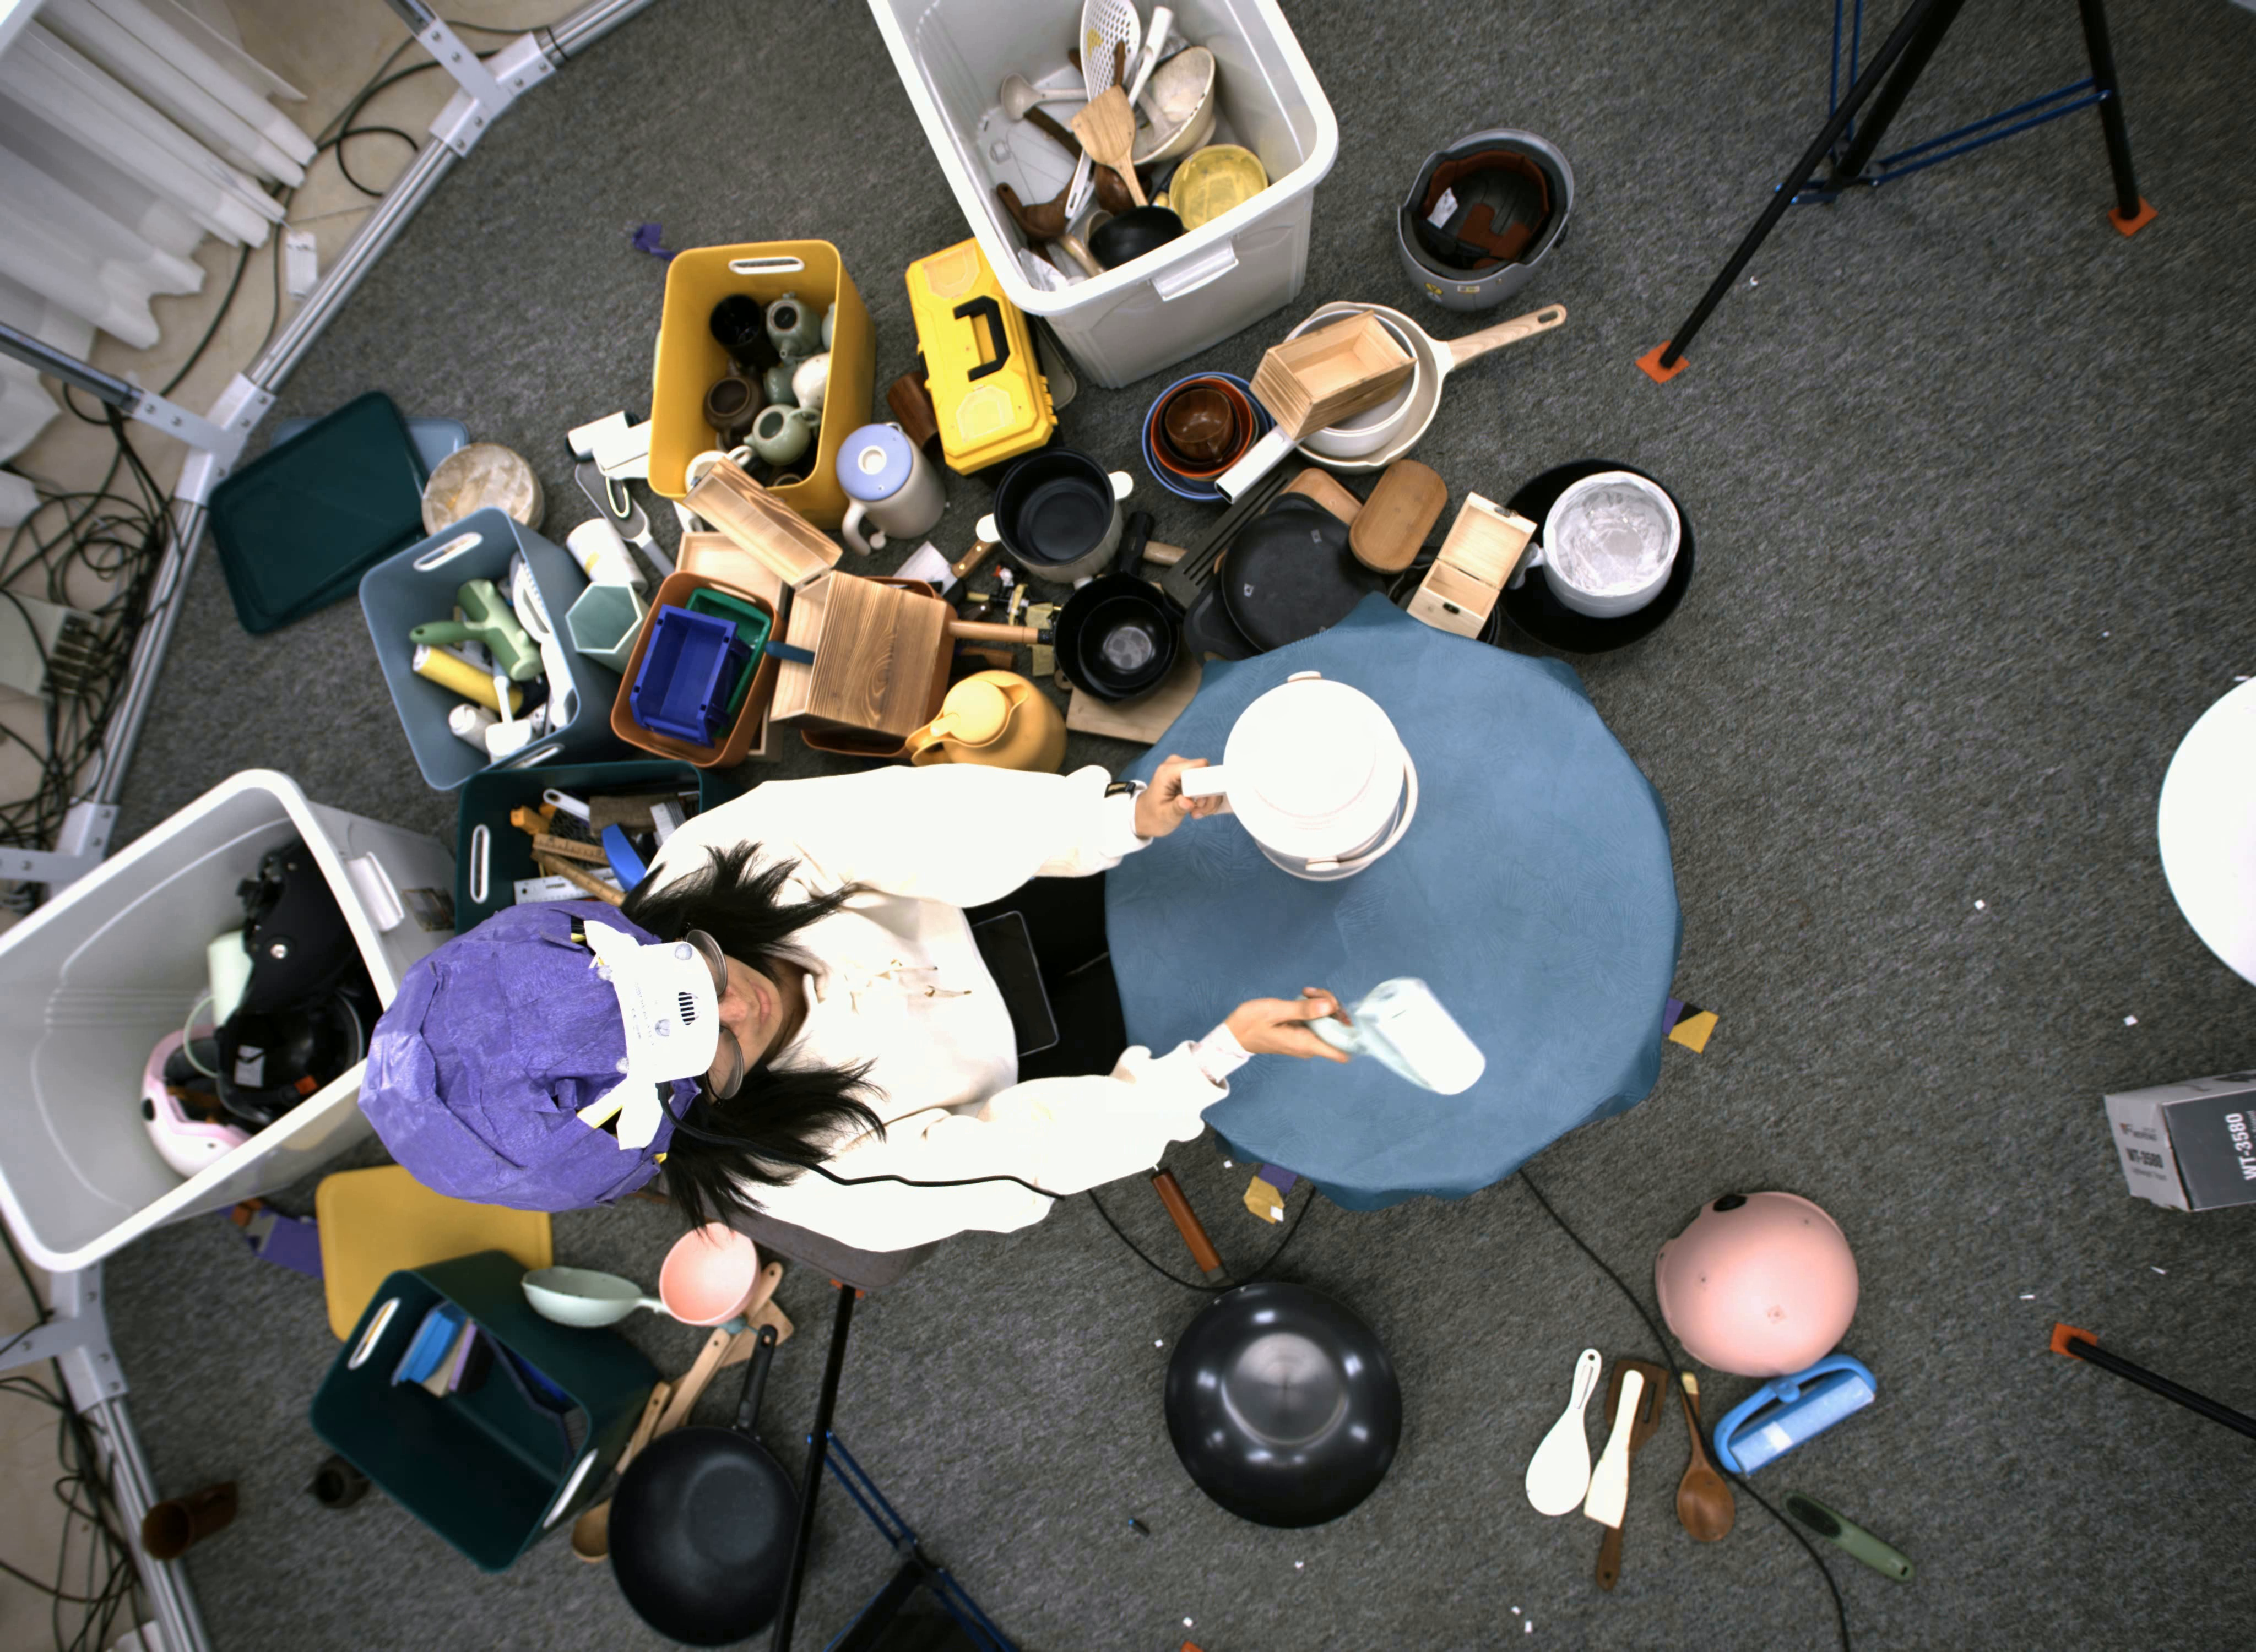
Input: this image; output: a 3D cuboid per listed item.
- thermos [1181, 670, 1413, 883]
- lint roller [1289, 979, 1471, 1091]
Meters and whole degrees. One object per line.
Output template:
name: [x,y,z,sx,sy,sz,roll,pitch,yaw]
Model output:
thermos: [0.162,-0.041,1.286,0.208,0.407,0.174,-6,84,10]
lint roller: [0.196,0.173,1.205,0.118,0.199,0.048,42,68,-25]
